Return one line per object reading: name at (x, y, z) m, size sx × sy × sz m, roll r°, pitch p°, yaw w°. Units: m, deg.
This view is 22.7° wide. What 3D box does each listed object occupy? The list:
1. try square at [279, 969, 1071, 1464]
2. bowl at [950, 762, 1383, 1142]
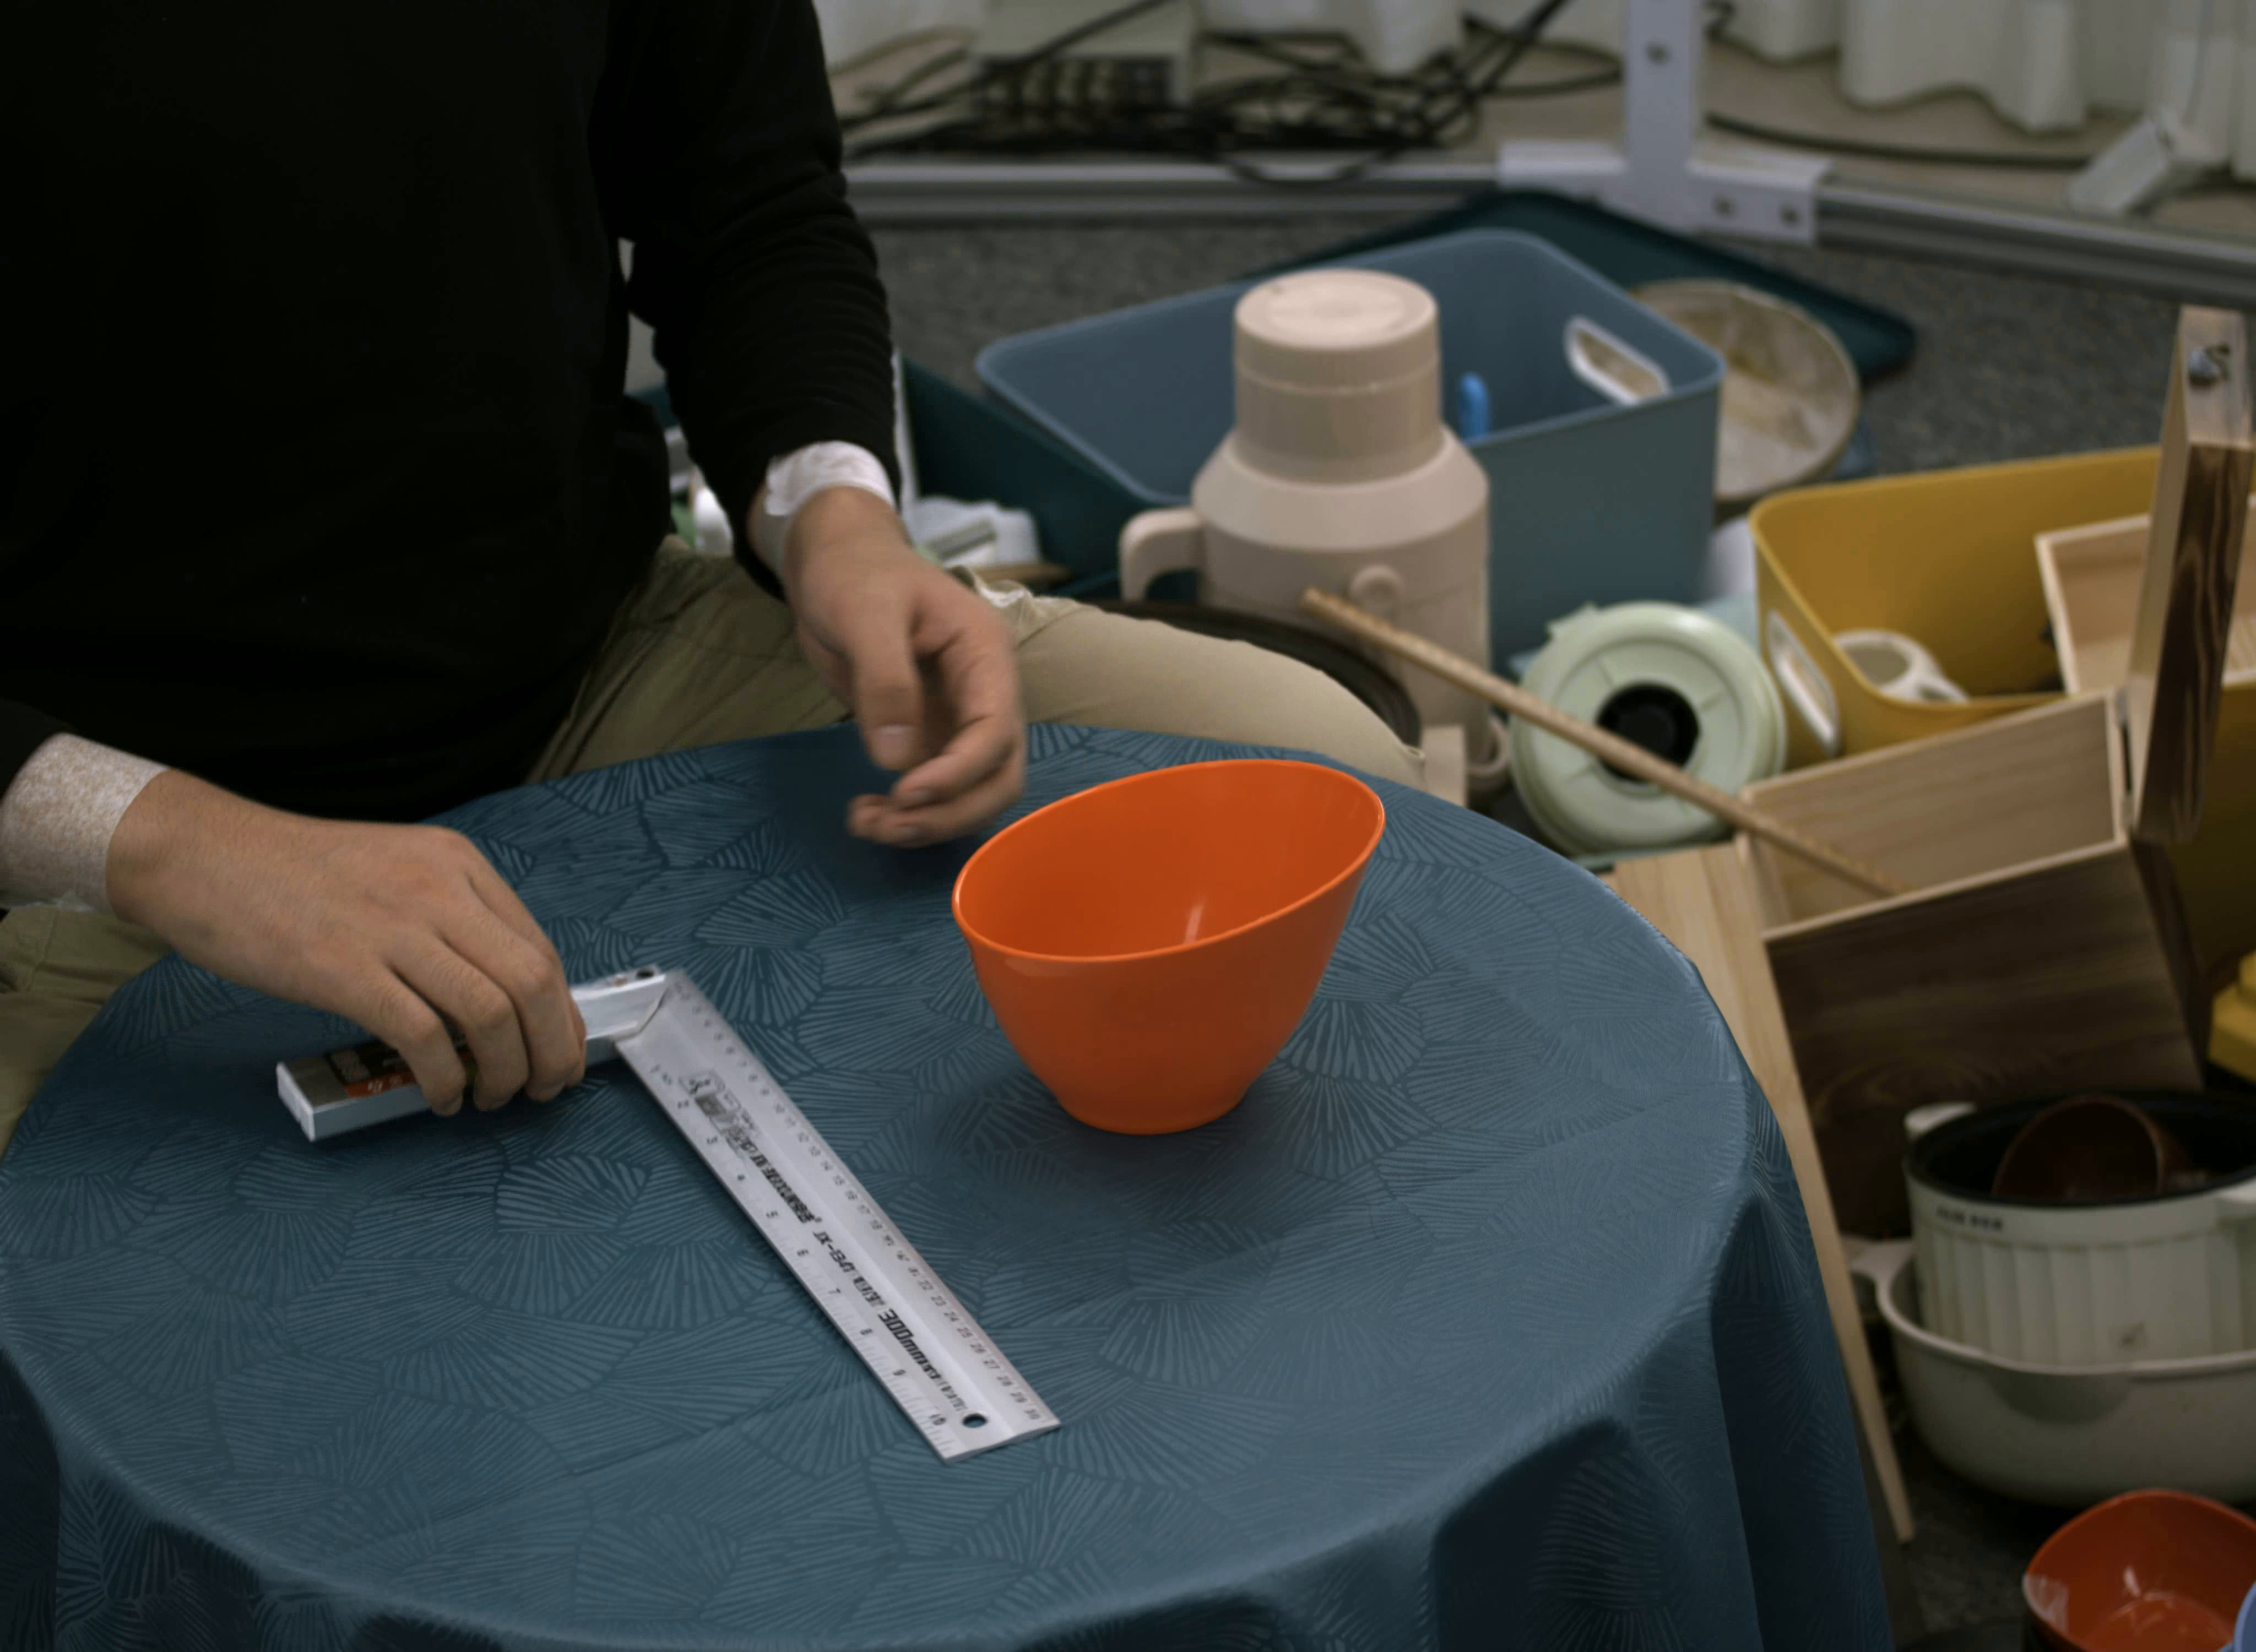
try square at (-0.155, 0.140, 1.833) m, size 0.153 × 0.015 × 0.315 m, roll -18°, pitch 33°, yaw -21°
bowl at (0.015, 0.048, 1.895) m, size 0.147 × 0.103 × 0.150 m, roll -3°, pitch 27°, yaw 2°
